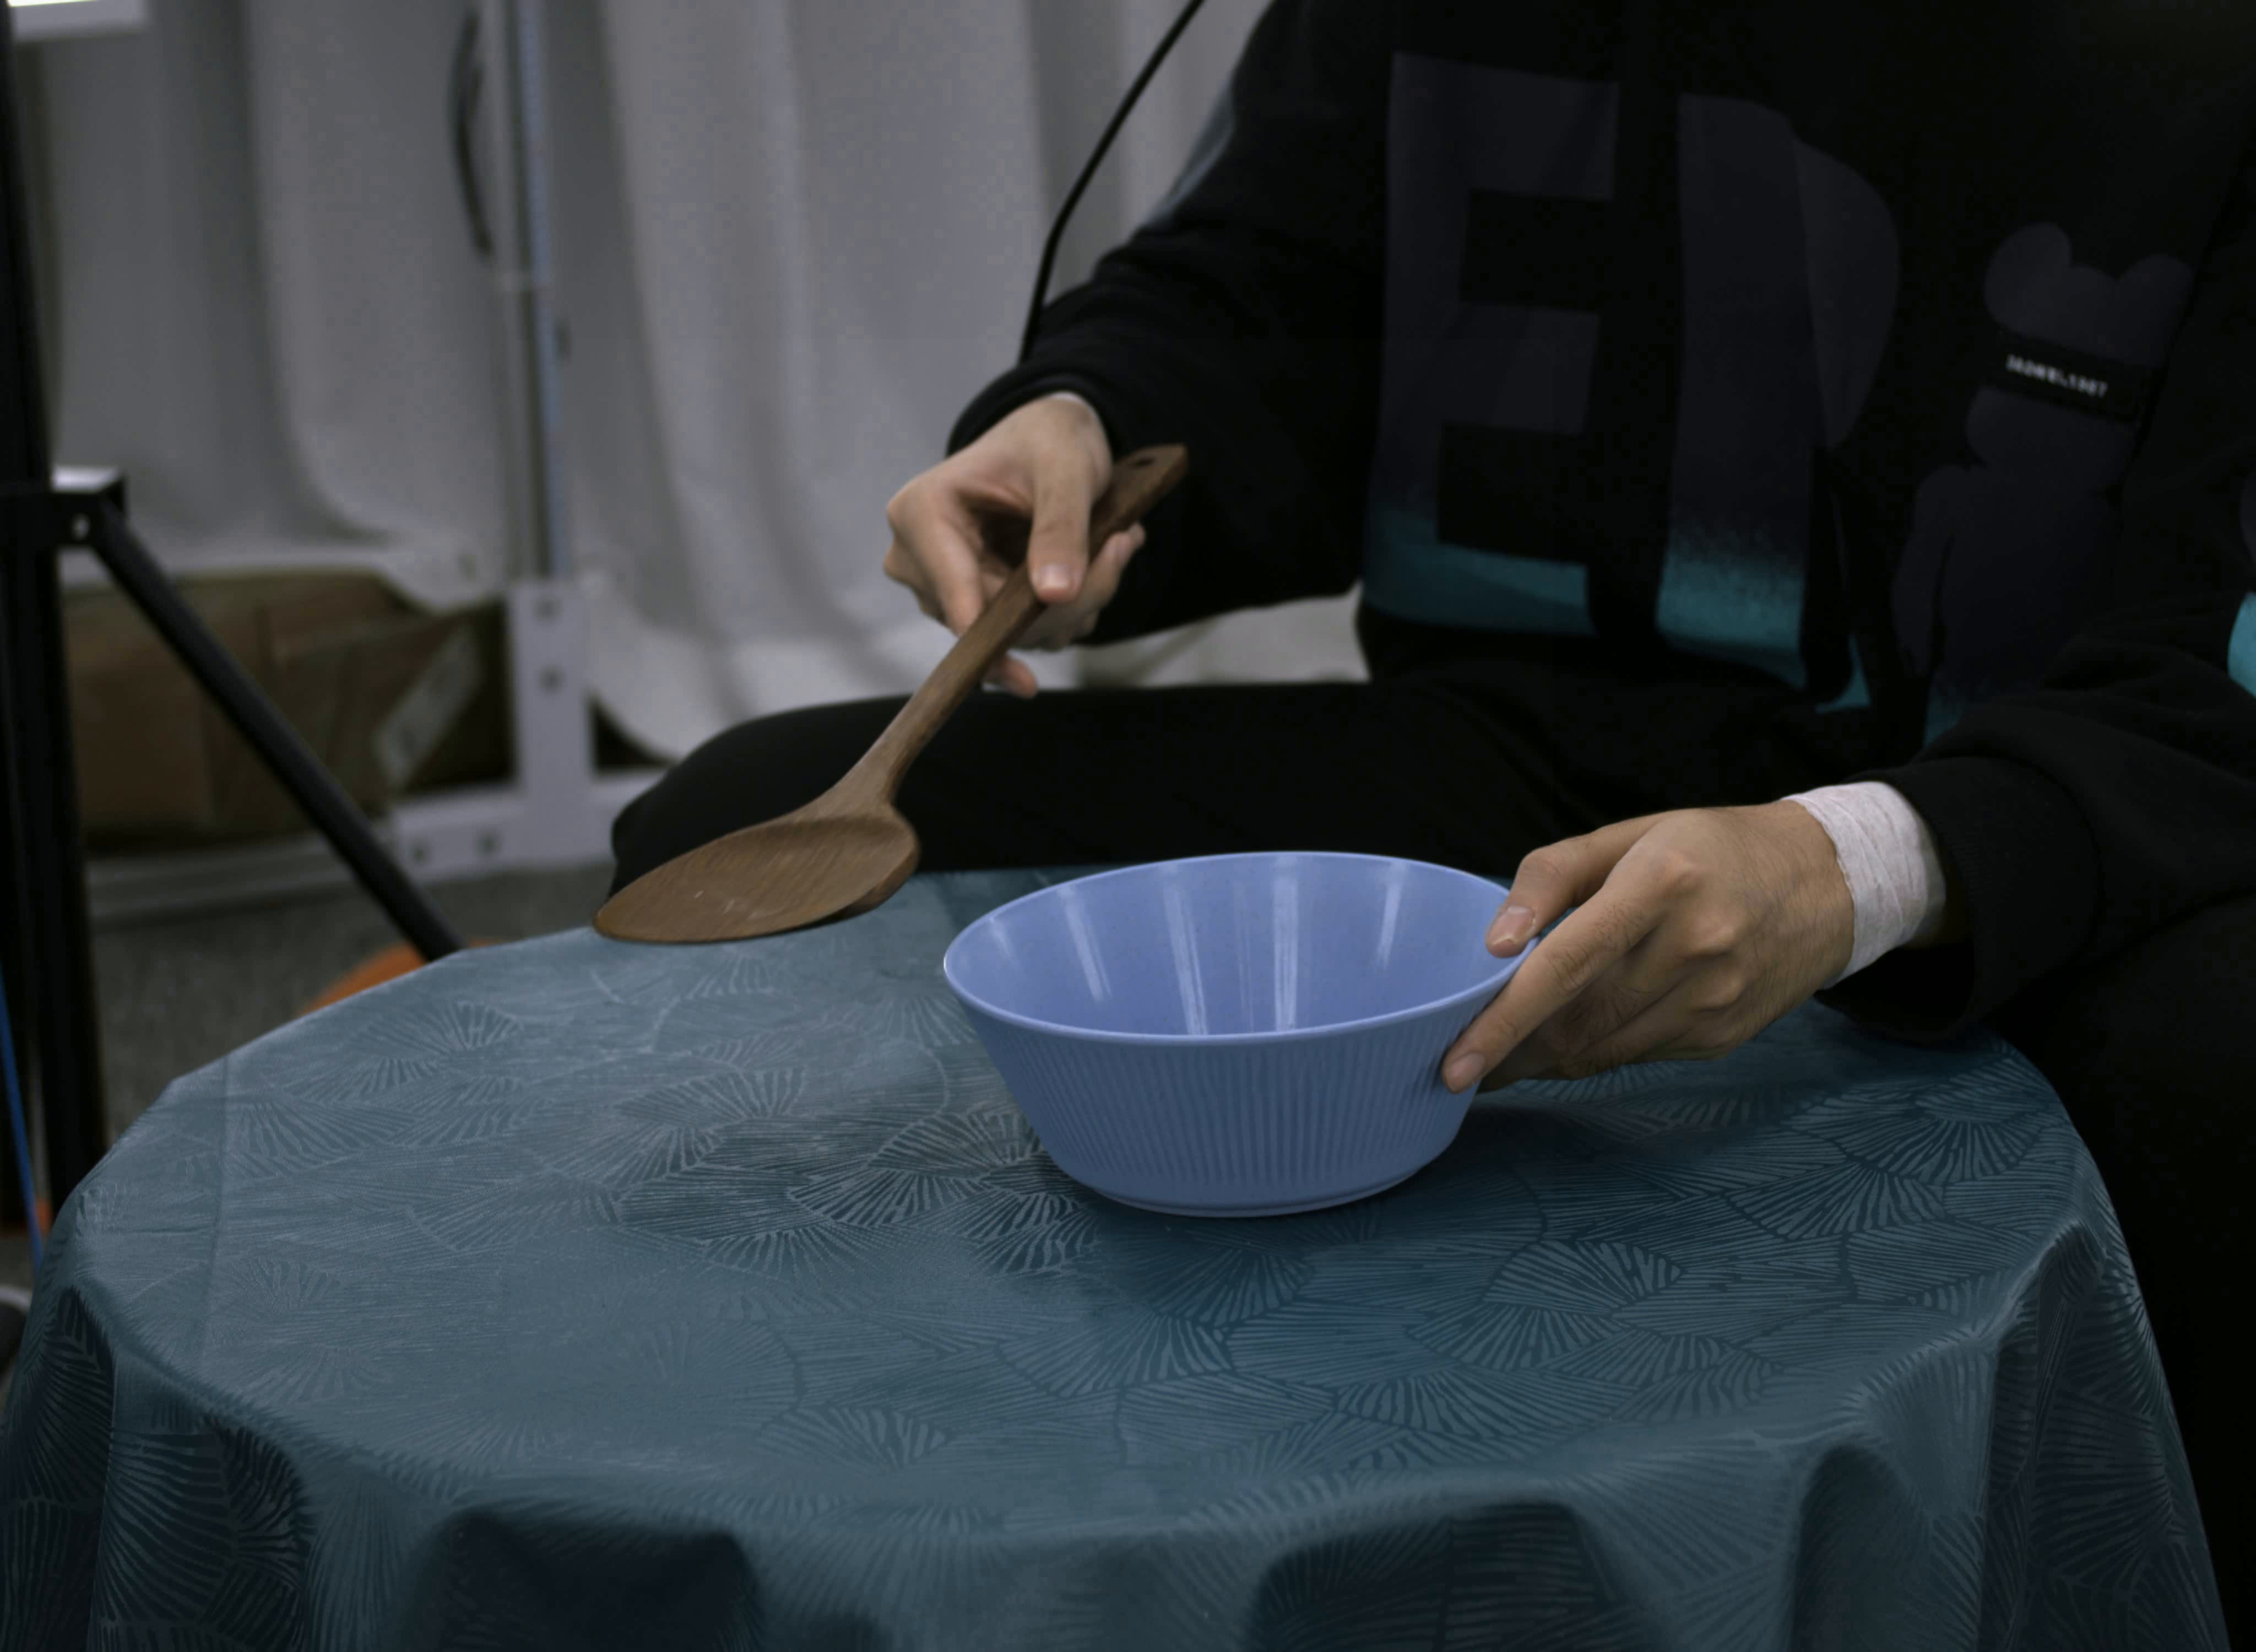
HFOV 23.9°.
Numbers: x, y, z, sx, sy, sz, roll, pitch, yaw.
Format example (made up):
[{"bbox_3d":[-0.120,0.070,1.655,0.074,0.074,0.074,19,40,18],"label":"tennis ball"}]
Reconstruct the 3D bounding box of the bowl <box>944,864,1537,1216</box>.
[{"bbox_3d":[0.034,0.066,1.570,0.175,0.070,0.177,-3,15,0],"label":"bowl"}]

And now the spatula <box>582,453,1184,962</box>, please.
[{"bbox_3d":[-0.058,-0.046,1.717,0.097,0.015,0.382,-5,25,26],"label":"spatula"}]
